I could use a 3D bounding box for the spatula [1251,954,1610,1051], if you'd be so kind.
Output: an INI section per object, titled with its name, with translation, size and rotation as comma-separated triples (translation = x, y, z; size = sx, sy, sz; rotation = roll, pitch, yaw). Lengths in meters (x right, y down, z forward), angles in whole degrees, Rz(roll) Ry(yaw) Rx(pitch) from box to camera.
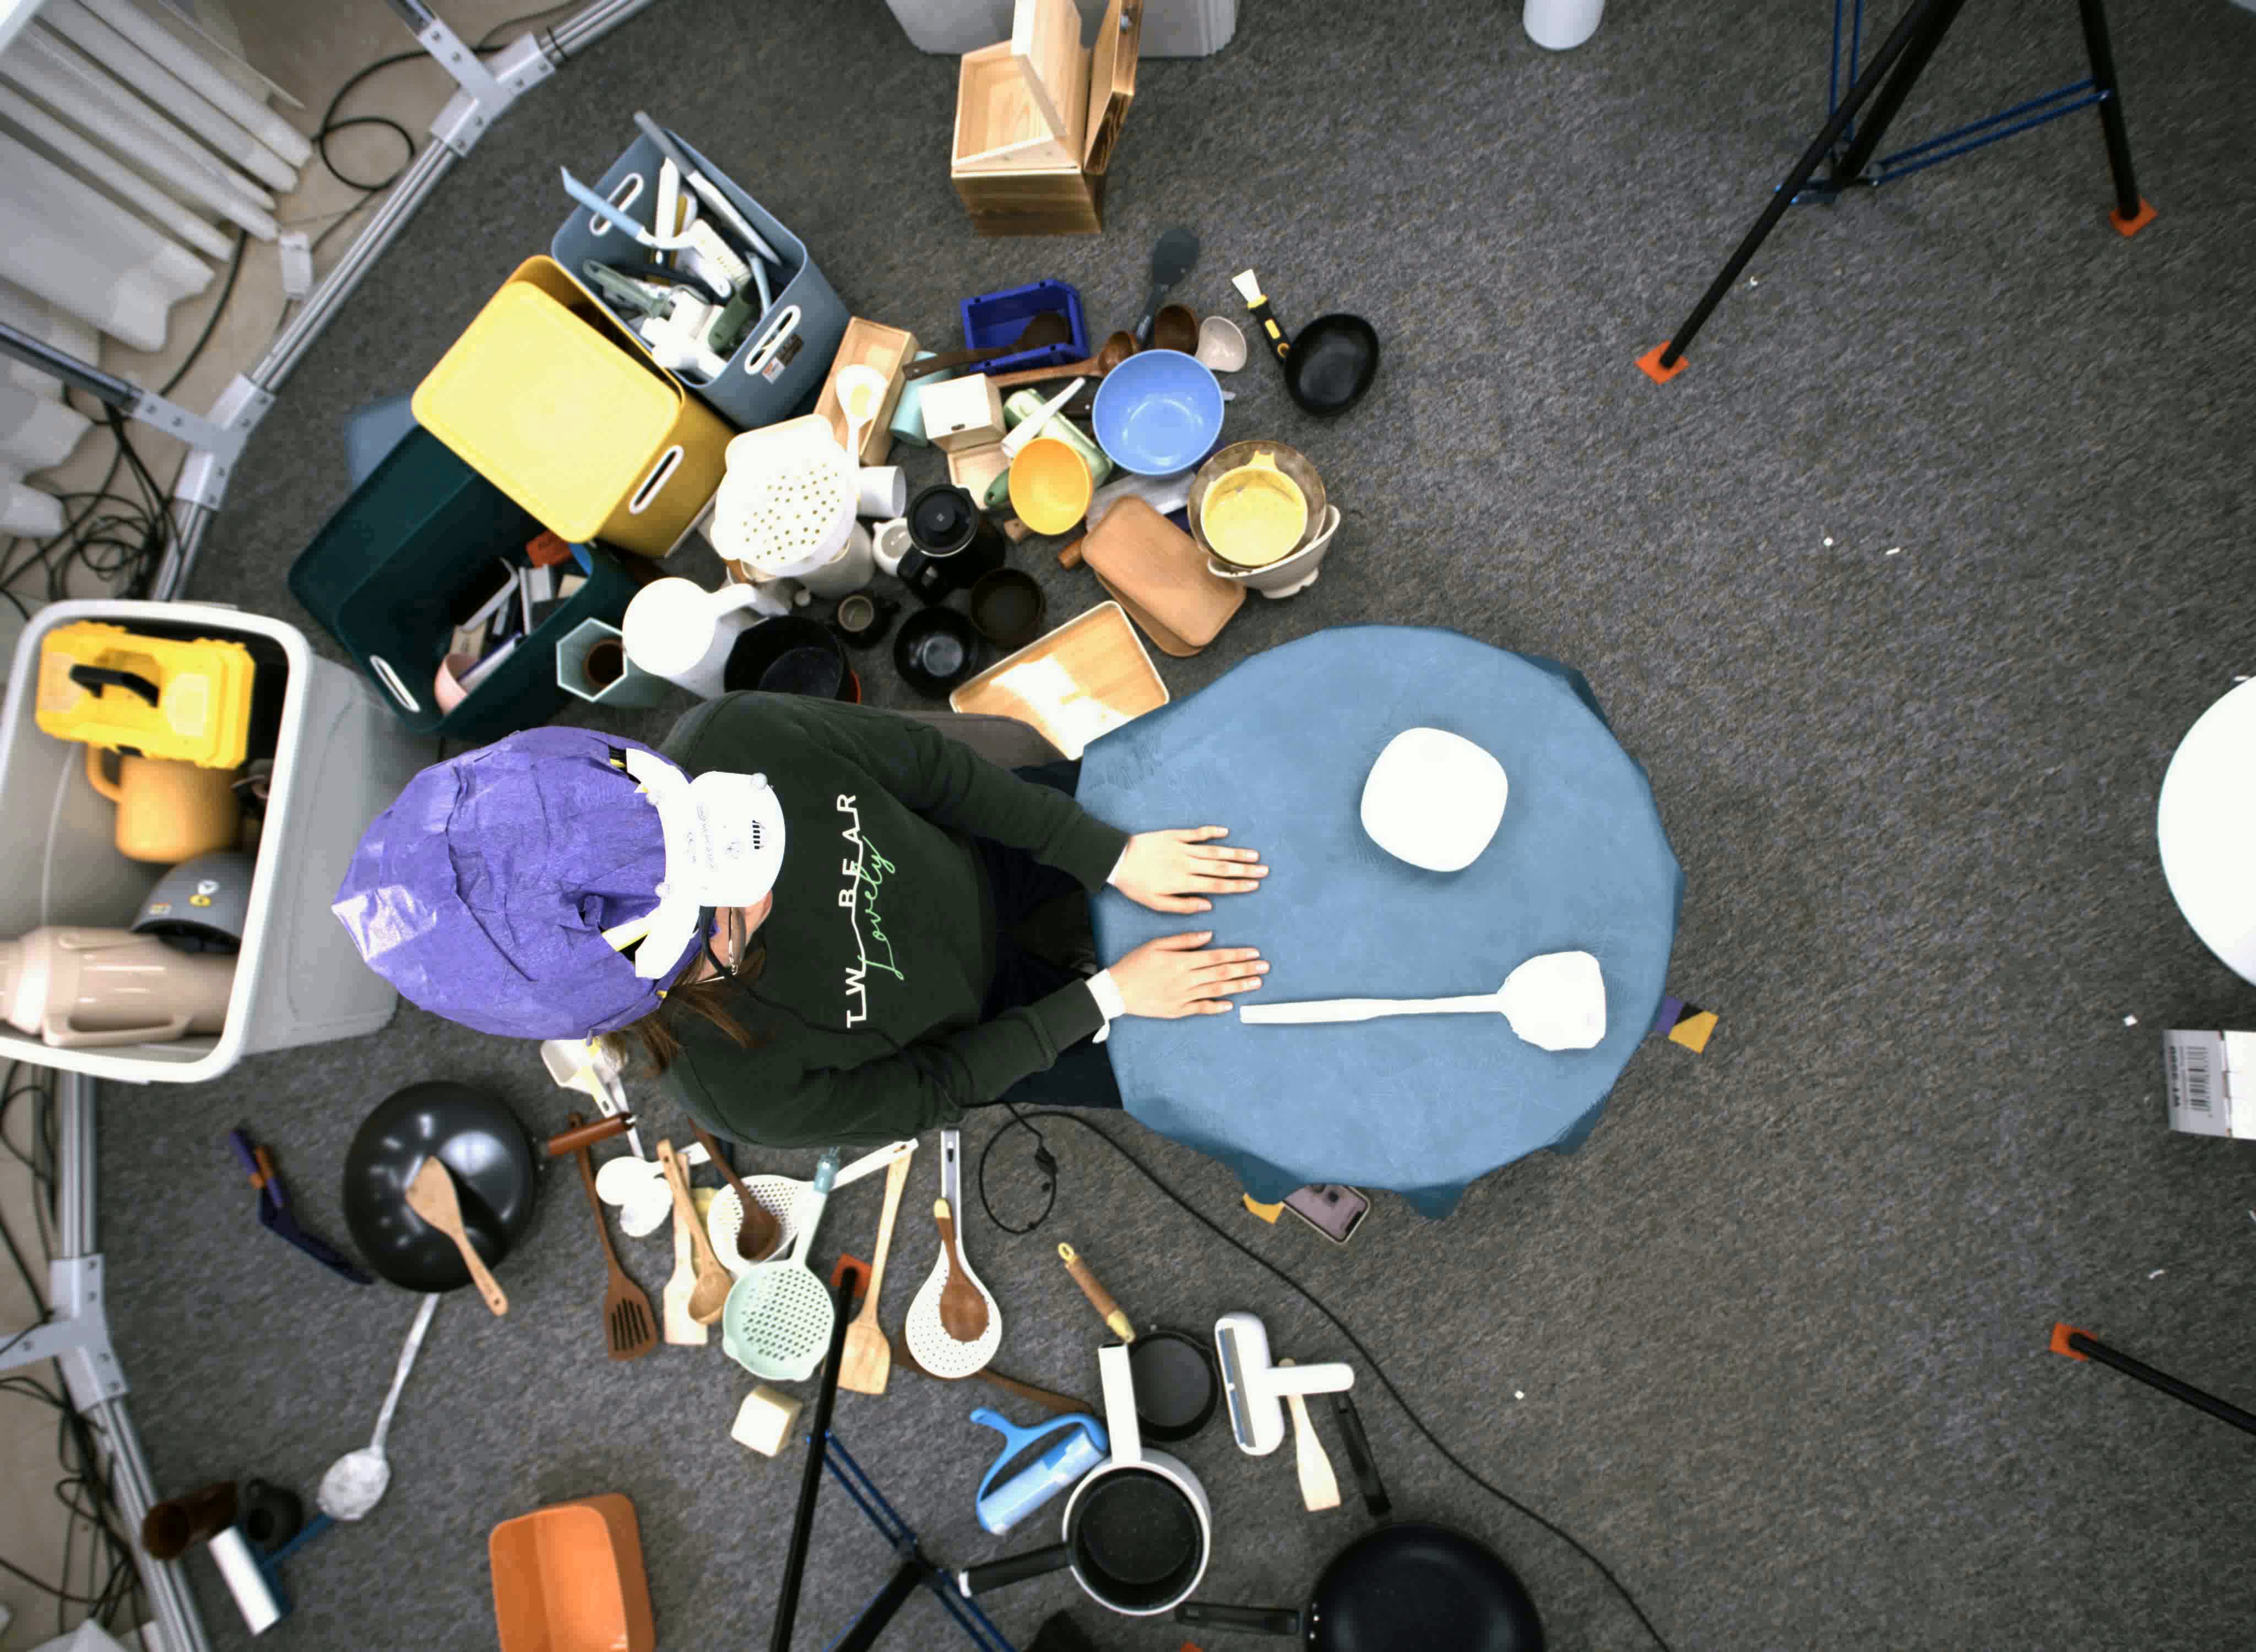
[spatula]
translation = 0.307, 0.183, 1.431
size = 0.366, 0.045, 0.098
rotation = -3, 87, 10

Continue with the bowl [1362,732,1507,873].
[bowl]
translation = 0.317, -0.022, 1.434
size = 0.152, 0.059, 0.150
rotation = -1, 84, 8
